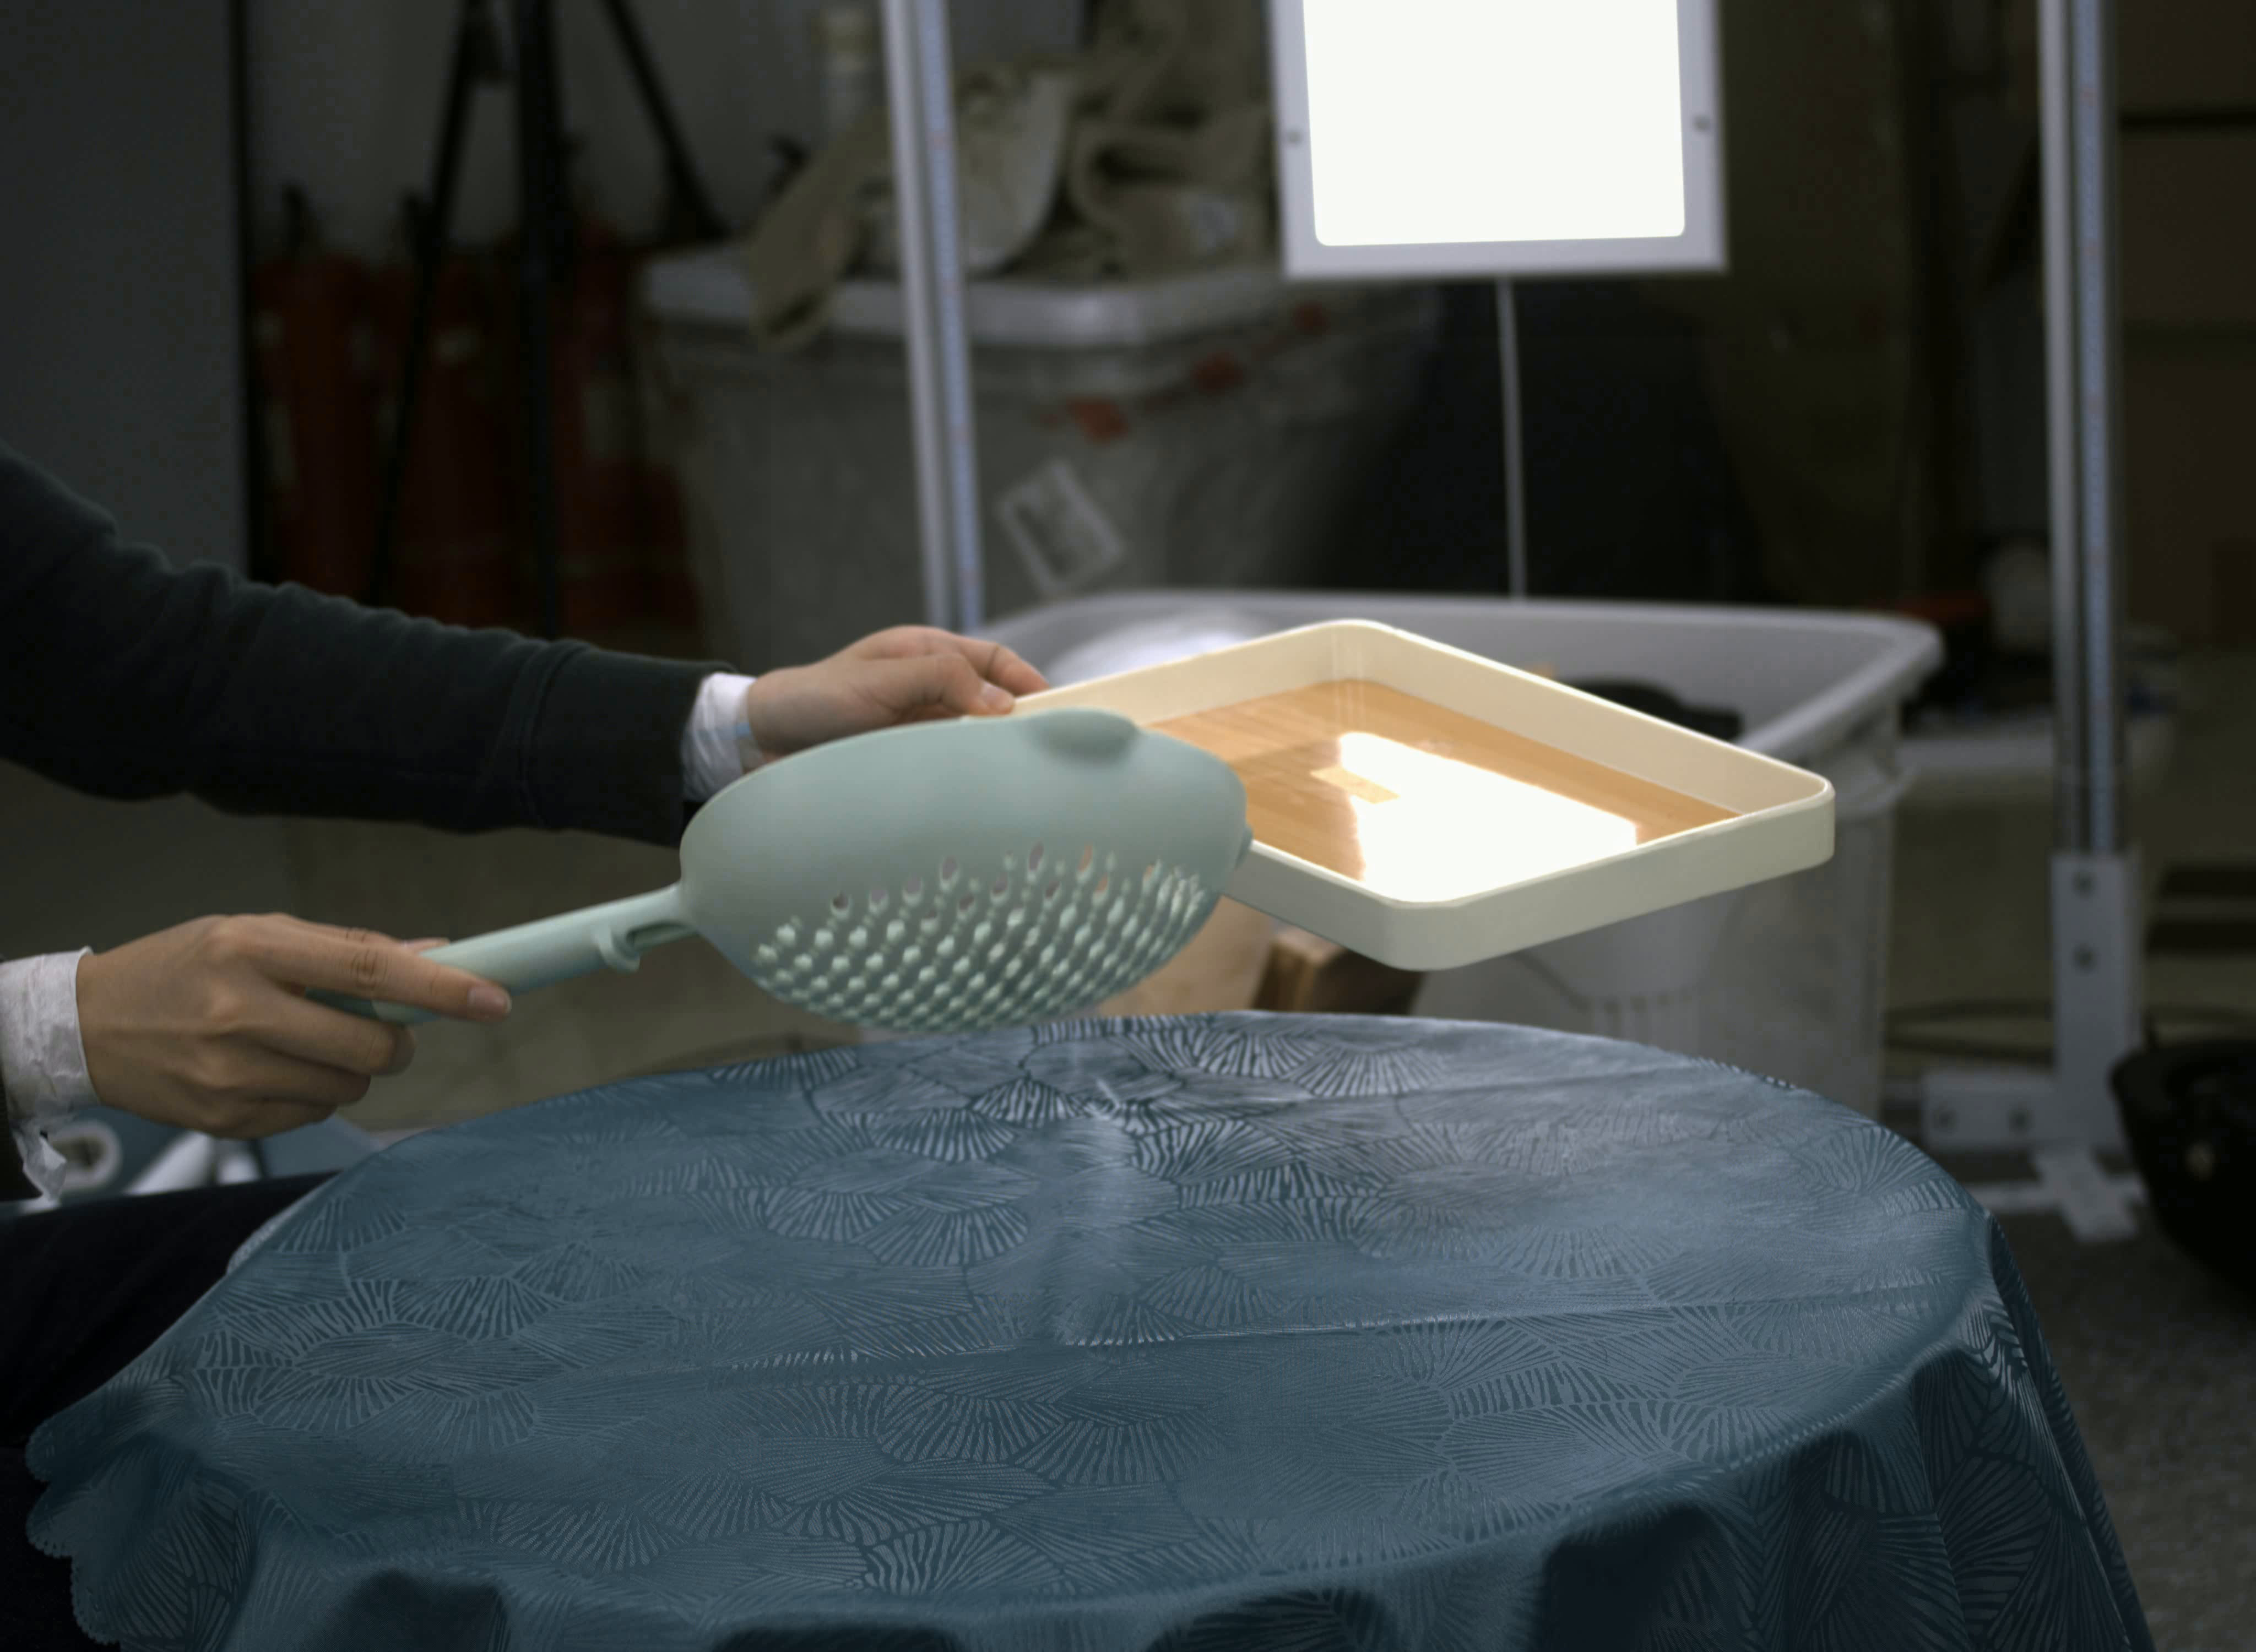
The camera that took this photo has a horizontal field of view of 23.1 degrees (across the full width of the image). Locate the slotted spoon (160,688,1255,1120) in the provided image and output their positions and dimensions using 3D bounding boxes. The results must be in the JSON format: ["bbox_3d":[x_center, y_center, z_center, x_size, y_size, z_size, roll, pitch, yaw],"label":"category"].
[{"bbox_3d":[-0.136,0.033,1.676,0.364,0.075,0.167,-8,-21,22],"label":"slotted spoon"}]

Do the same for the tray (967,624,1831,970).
[{"bbox_3d":[0.090,-0.015,1.961,0.187,0.027,0.306,-15,20,-29],"label":"tray"}]
